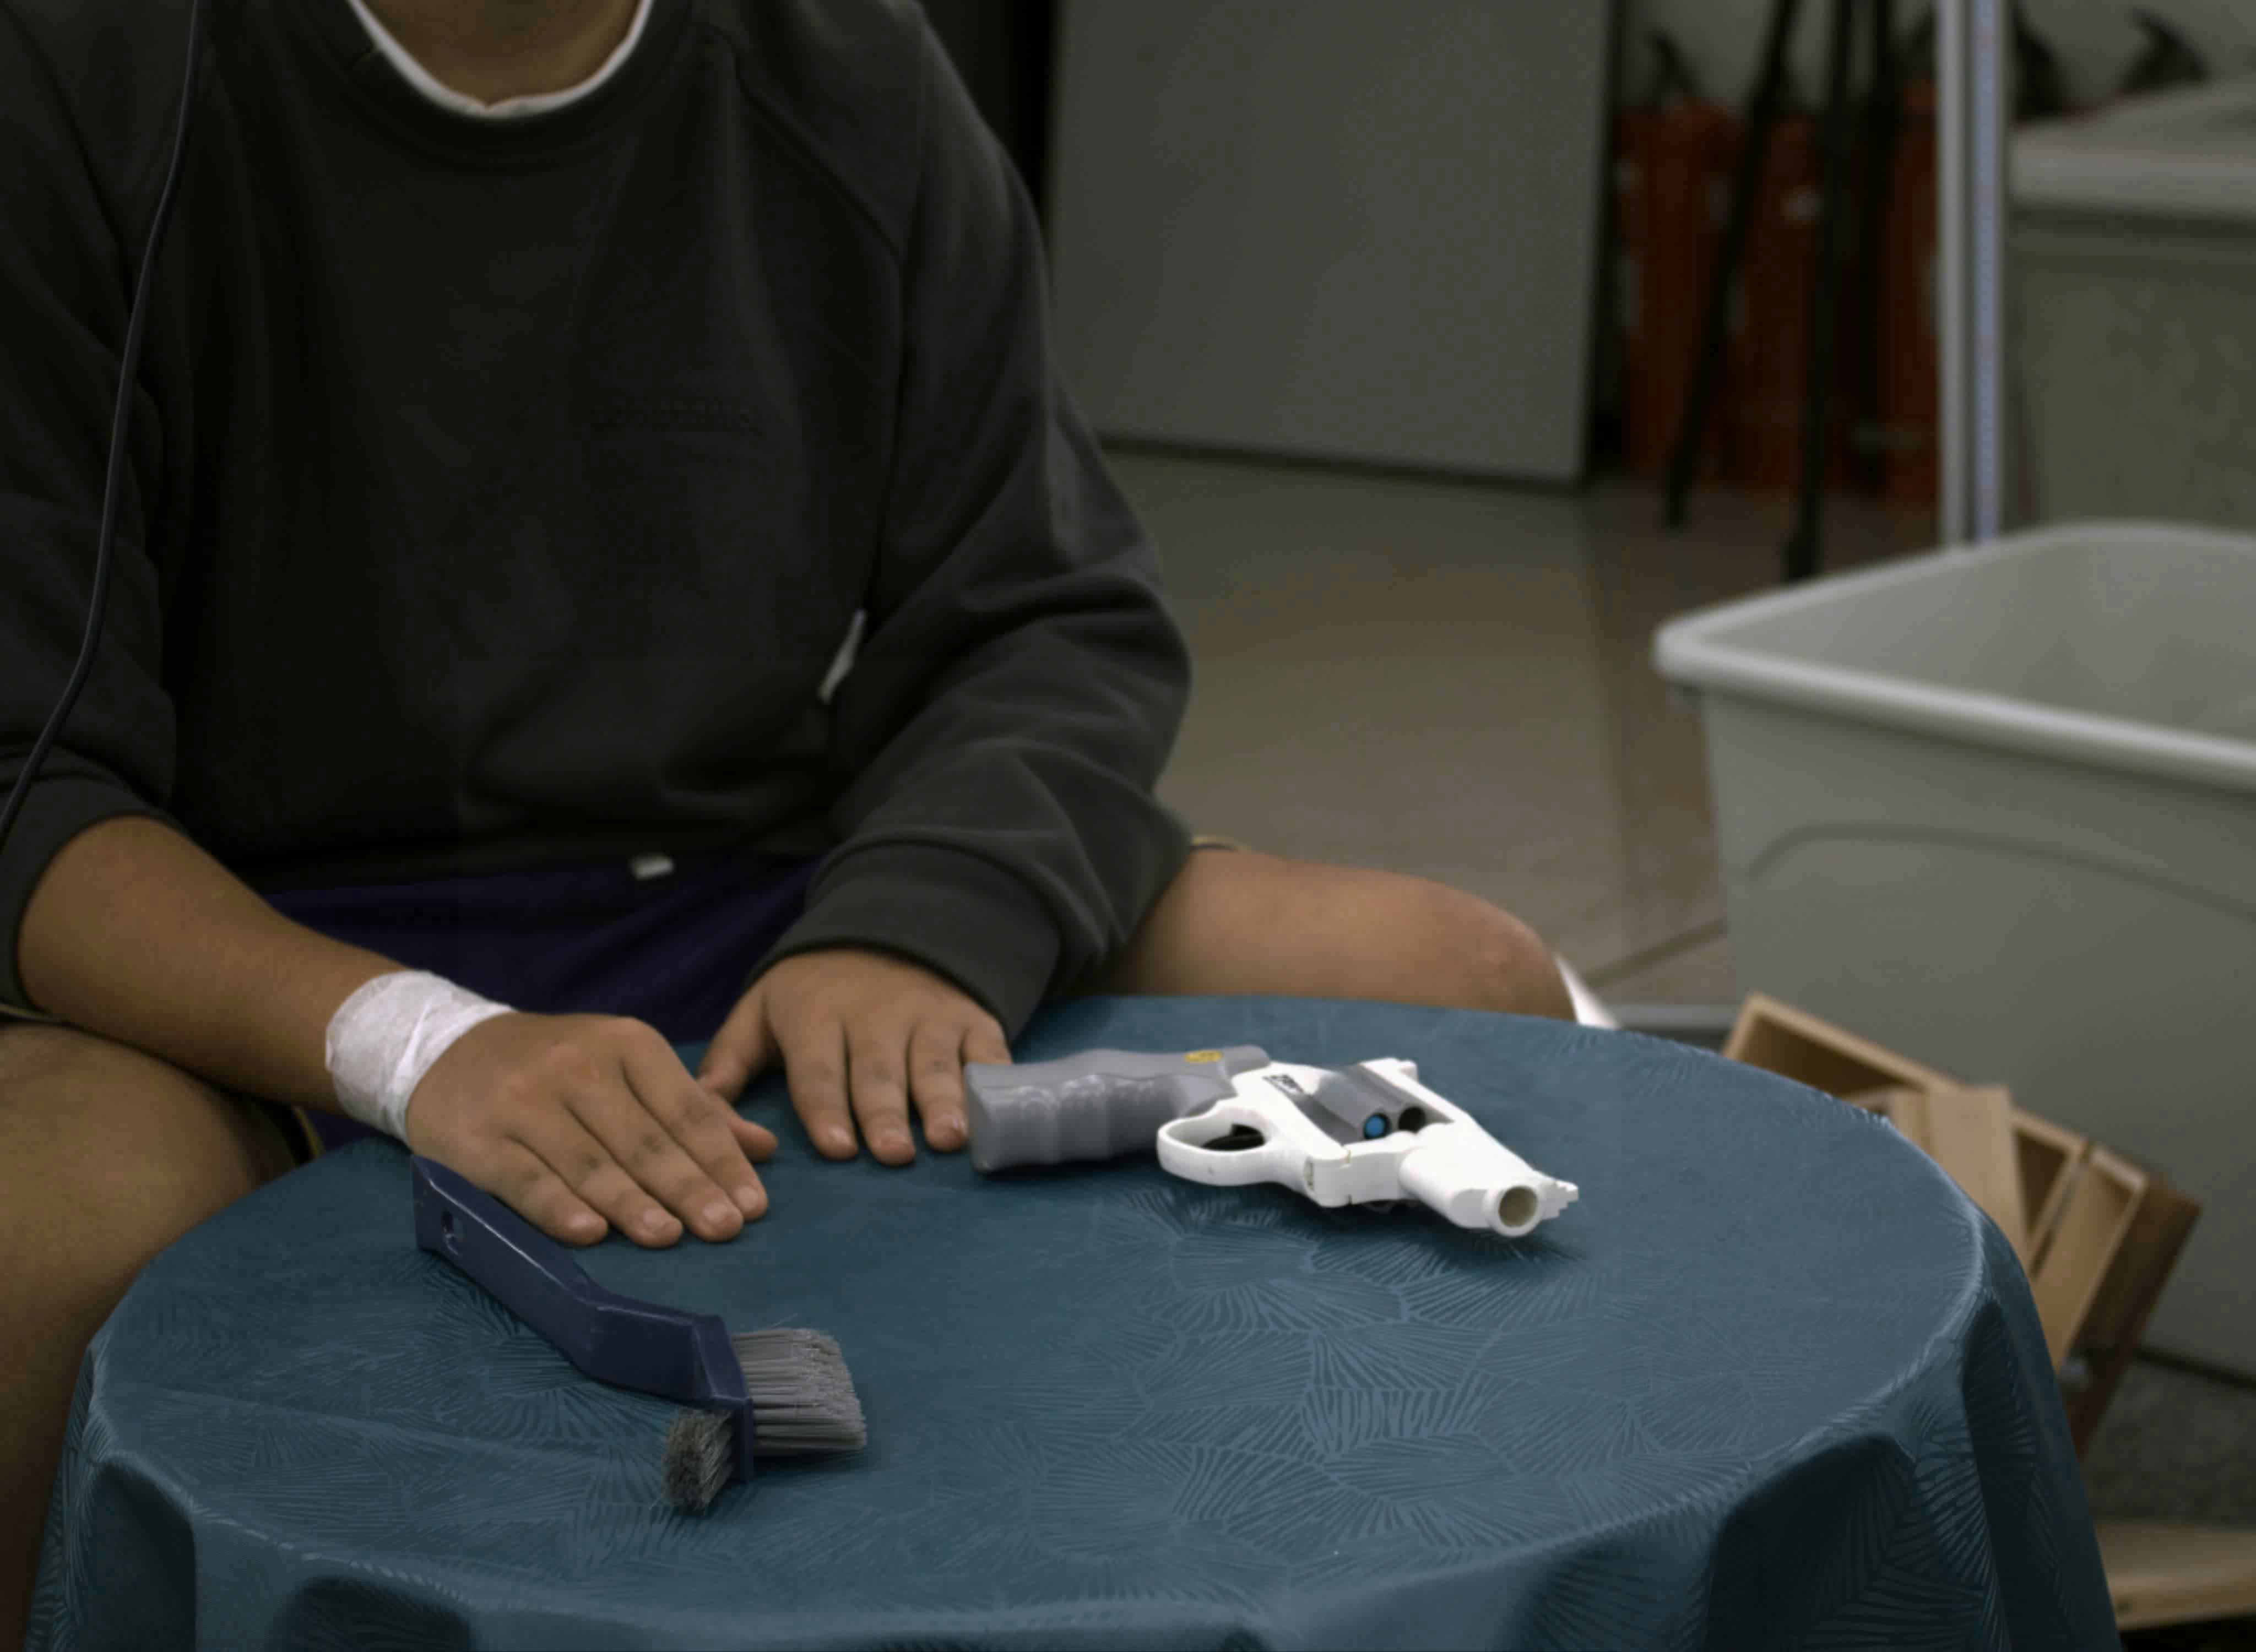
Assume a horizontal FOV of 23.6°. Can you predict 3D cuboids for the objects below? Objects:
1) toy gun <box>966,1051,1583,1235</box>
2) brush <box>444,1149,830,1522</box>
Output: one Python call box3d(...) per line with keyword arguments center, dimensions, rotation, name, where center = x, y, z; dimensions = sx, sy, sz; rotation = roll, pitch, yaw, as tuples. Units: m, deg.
box3d(center=(0.041, 0.104, 1.746), dimensions=(0.139, 0.039, 0.211), rotation=(-11, 15, -21), name="toy gun")
box3d(center=(-0.170, 0.150, 1.634), dimensions=(0.093, 0.034, 0.276), rotation=(-12, 16, -31), name="brush")
